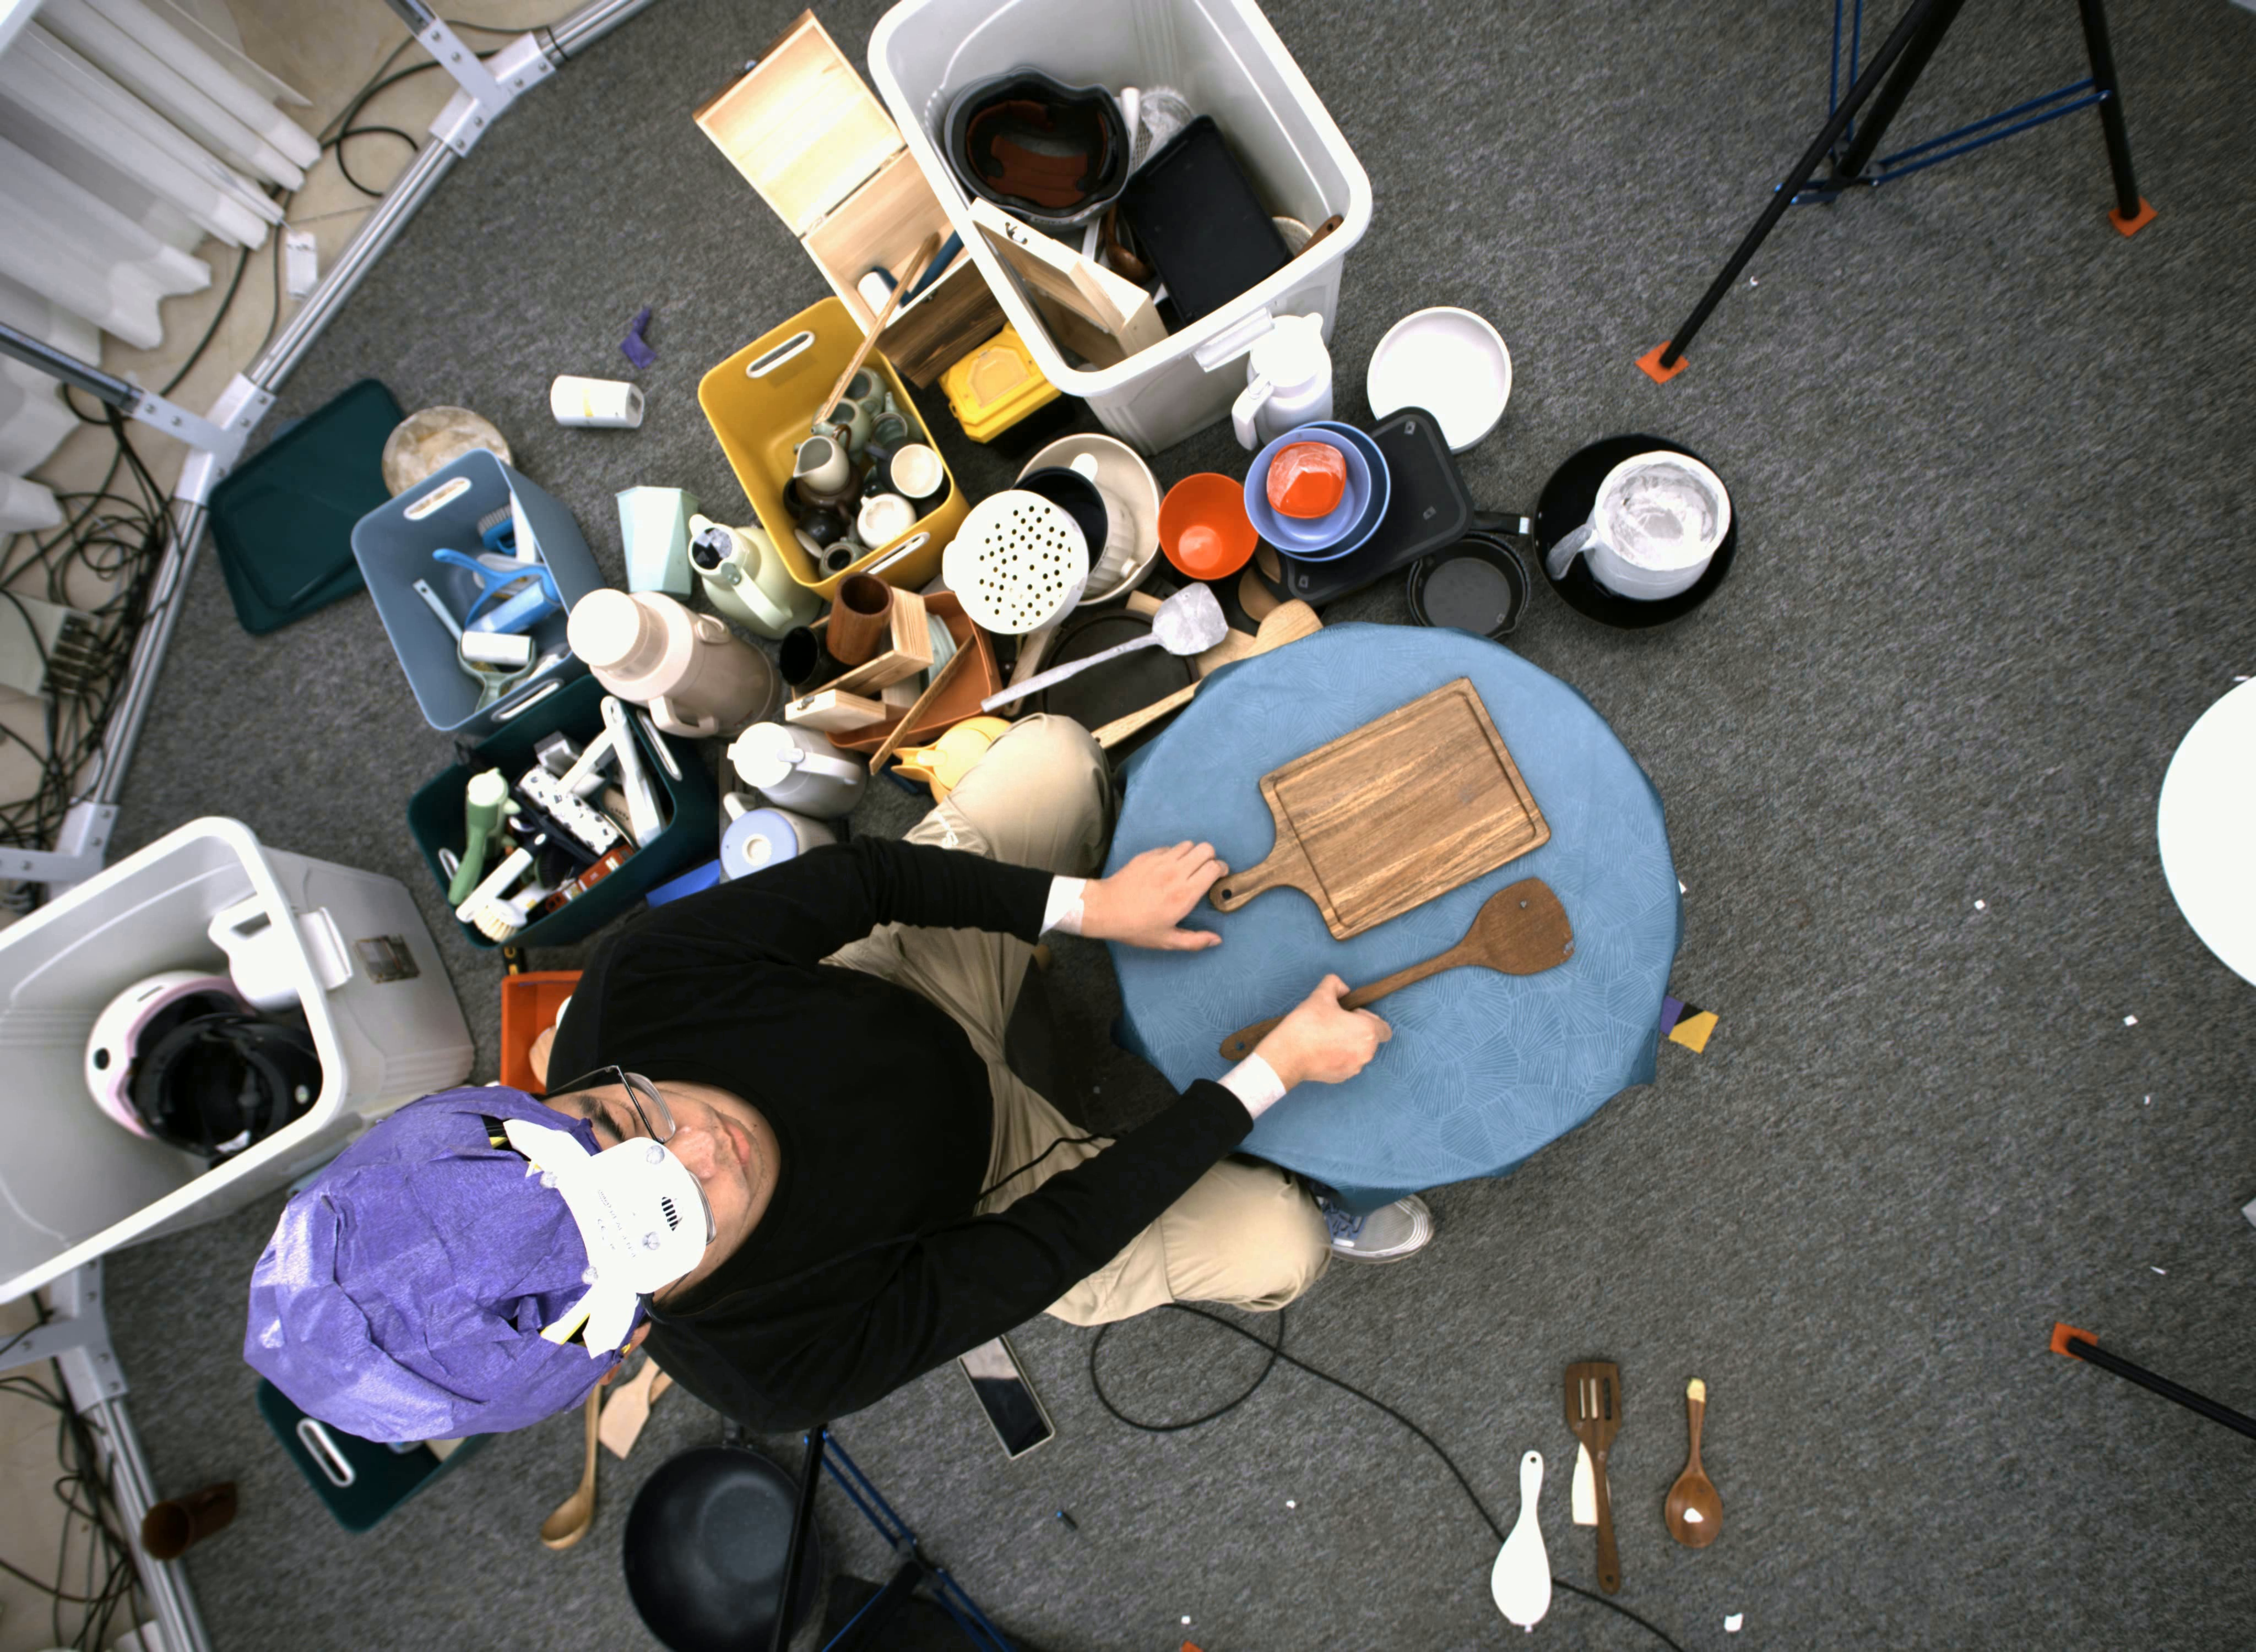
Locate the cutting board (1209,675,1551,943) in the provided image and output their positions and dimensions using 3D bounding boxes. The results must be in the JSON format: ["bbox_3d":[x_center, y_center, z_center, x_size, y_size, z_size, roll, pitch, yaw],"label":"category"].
[{"bbox_3d":[0.244,0.003,1.458,0.354,0.023,0.200,-27,82,8],"label":"cutting board"}]

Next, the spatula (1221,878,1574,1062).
[{"bbox_3d":[0.276,0.164,1.439,0.387,0.016,0.095,-23,82,5],"label":"spatula"}]
